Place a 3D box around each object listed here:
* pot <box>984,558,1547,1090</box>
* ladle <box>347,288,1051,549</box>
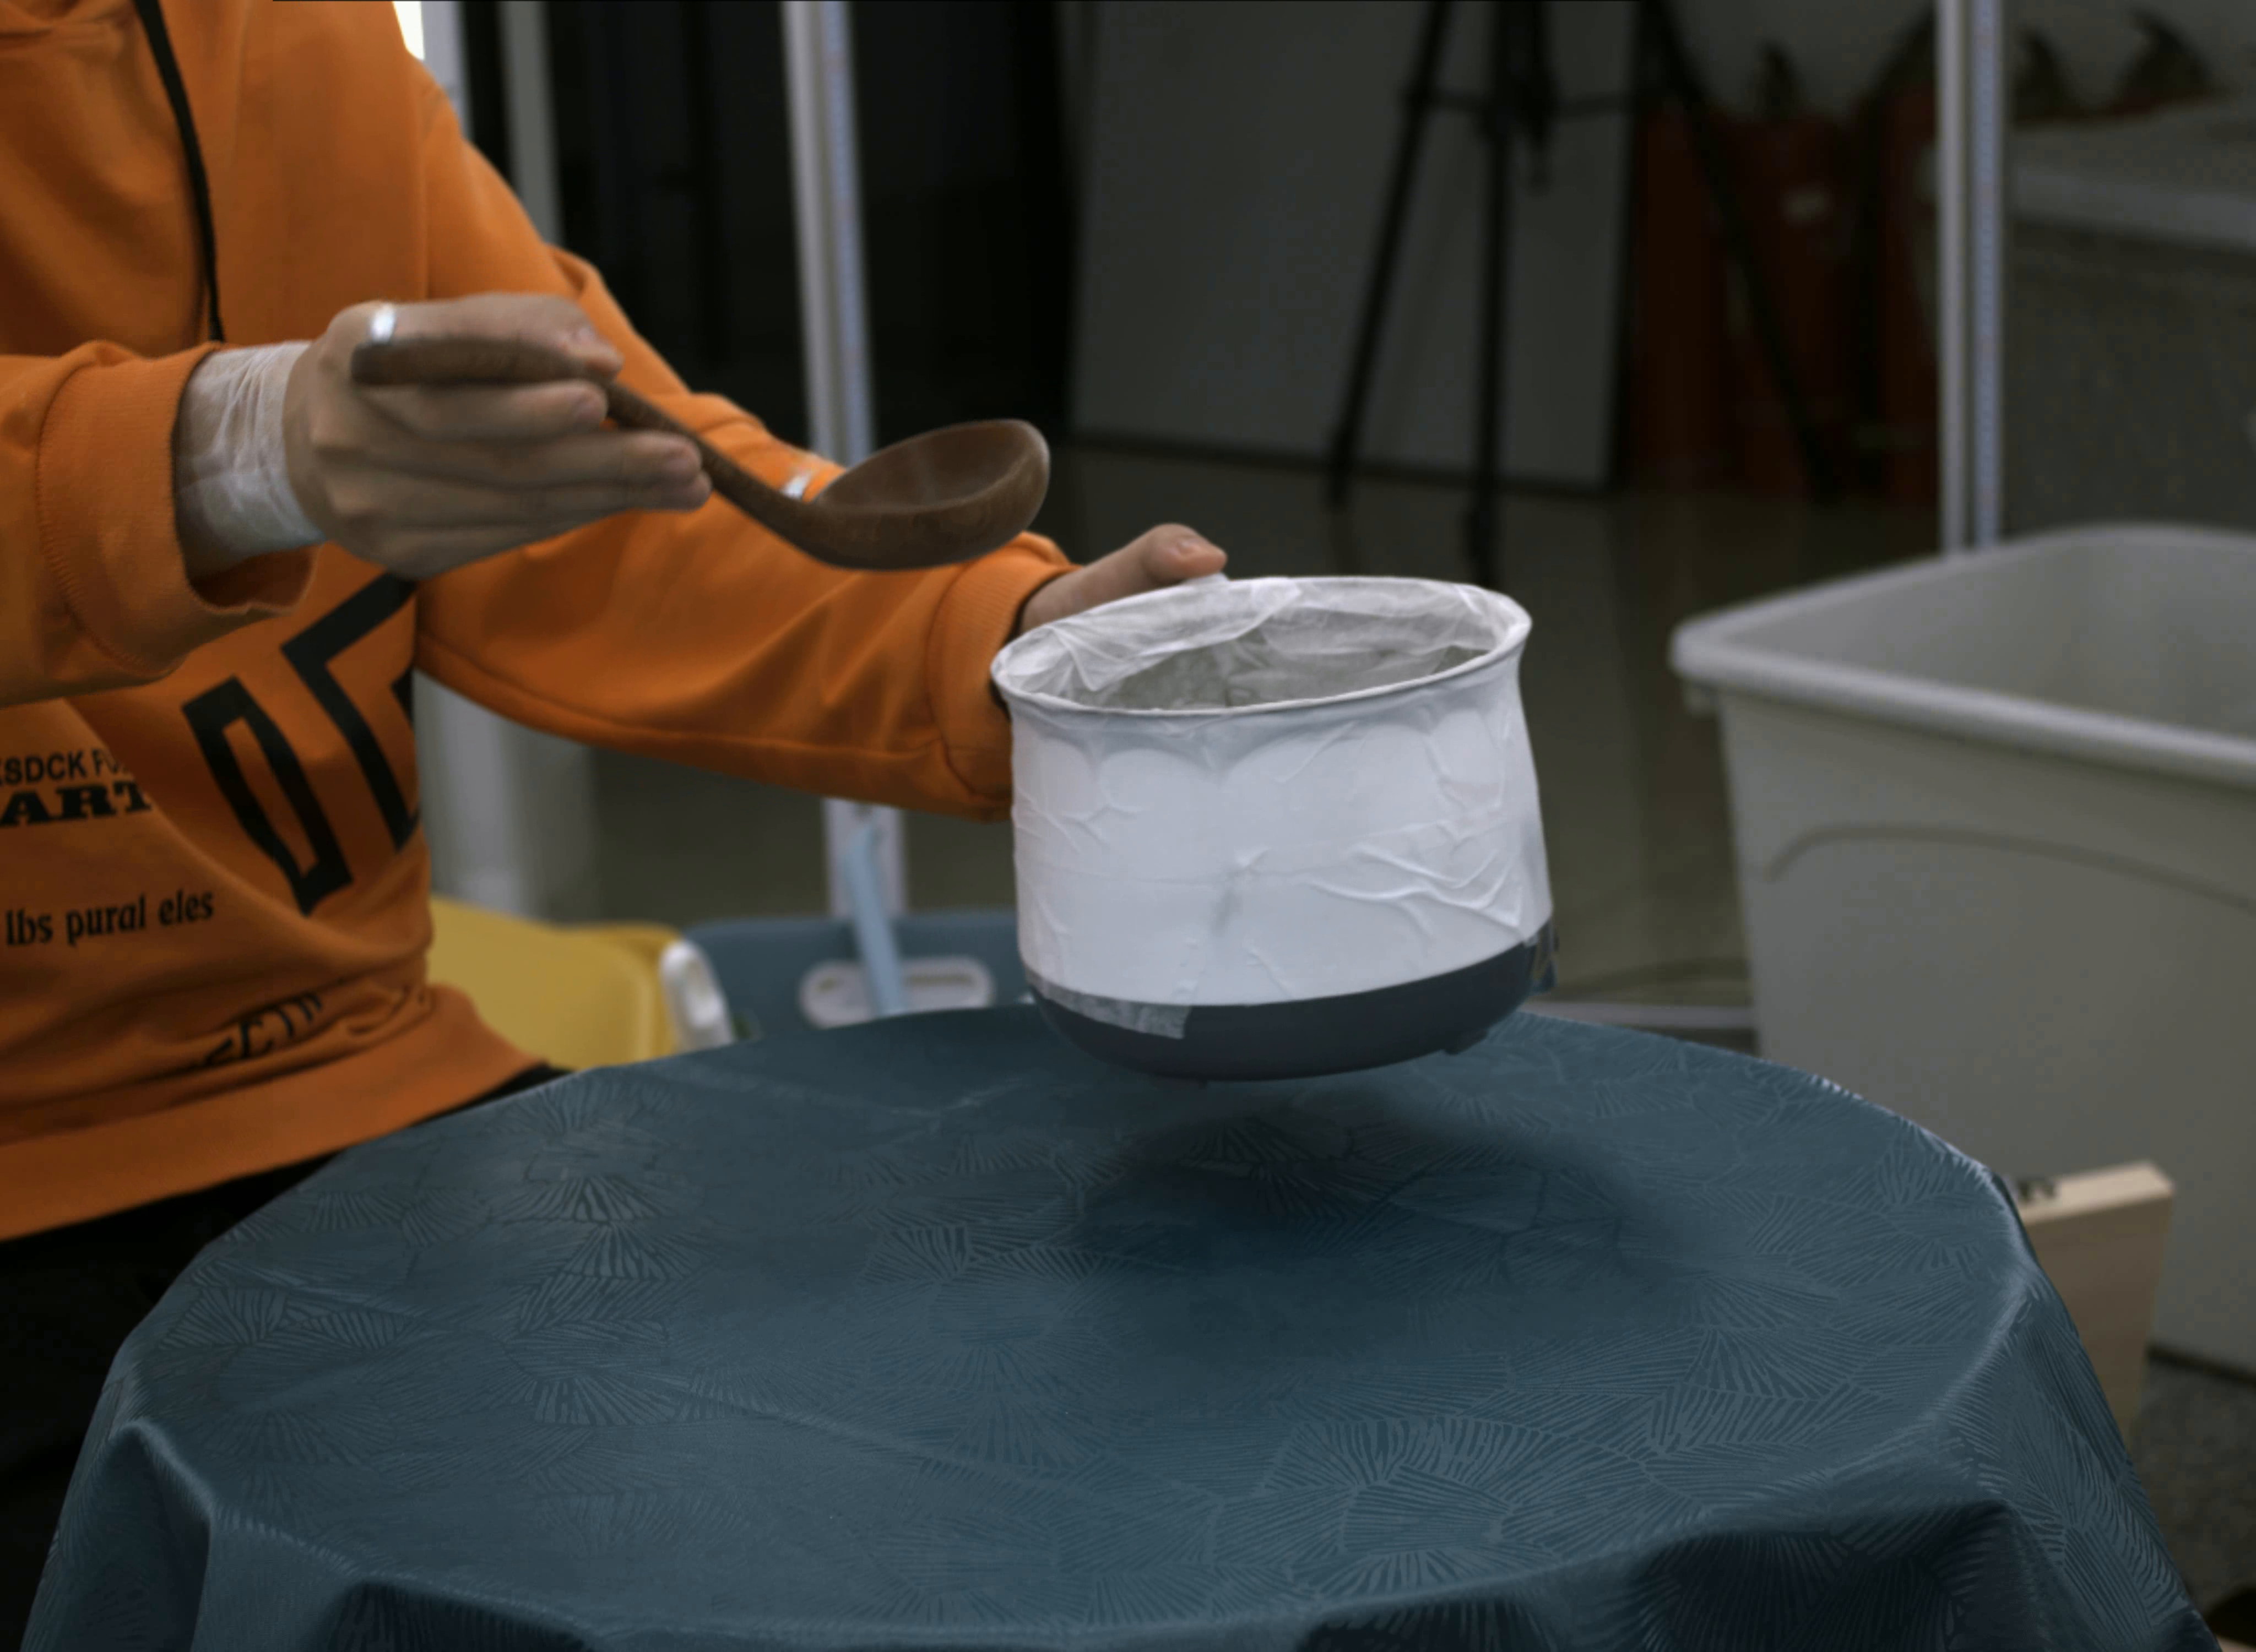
[{"bbox_3d":[0.041,-0.007,1.781,0.176,0.138,0.235,-8,15,-8],"label":"pot"},{"bbox_3d":[-0.124,-0.134,1.598,0.077,0.066,0.255,-2,-16,45],"label":"ladle"}]
